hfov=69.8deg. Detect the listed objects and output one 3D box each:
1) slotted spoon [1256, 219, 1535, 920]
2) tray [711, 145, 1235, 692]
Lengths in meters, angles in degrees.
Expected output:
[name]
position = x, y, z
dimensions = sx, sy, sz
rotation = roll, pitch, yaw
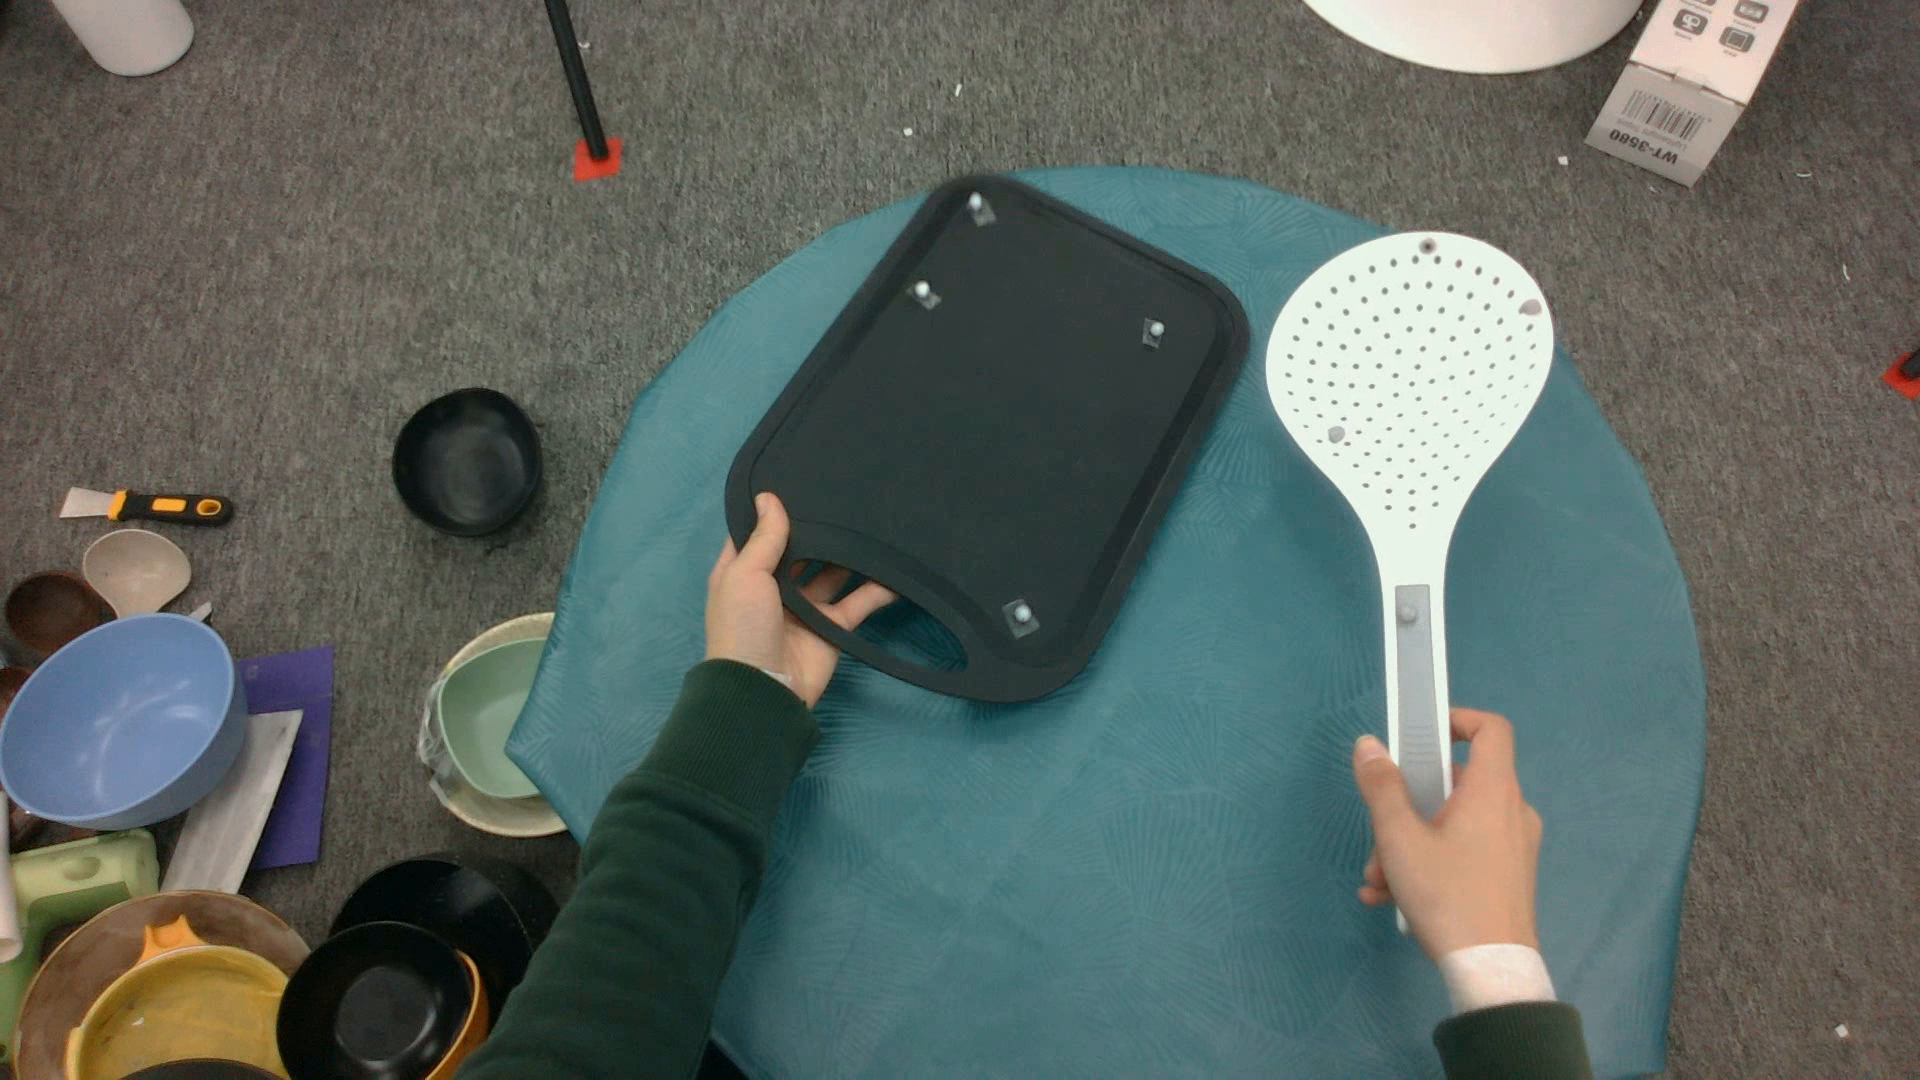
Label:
[slotted spoon]
position = 0.212, 0.002, 0.662
dimensions = 0.136, 0.045, 0.351
rotation = -5, 63, 23
[tray]
position = 0.015, -0.074, 0.742
dimensions = 0.211, 0.010, 0.327
rotation = 30, 62, 0
